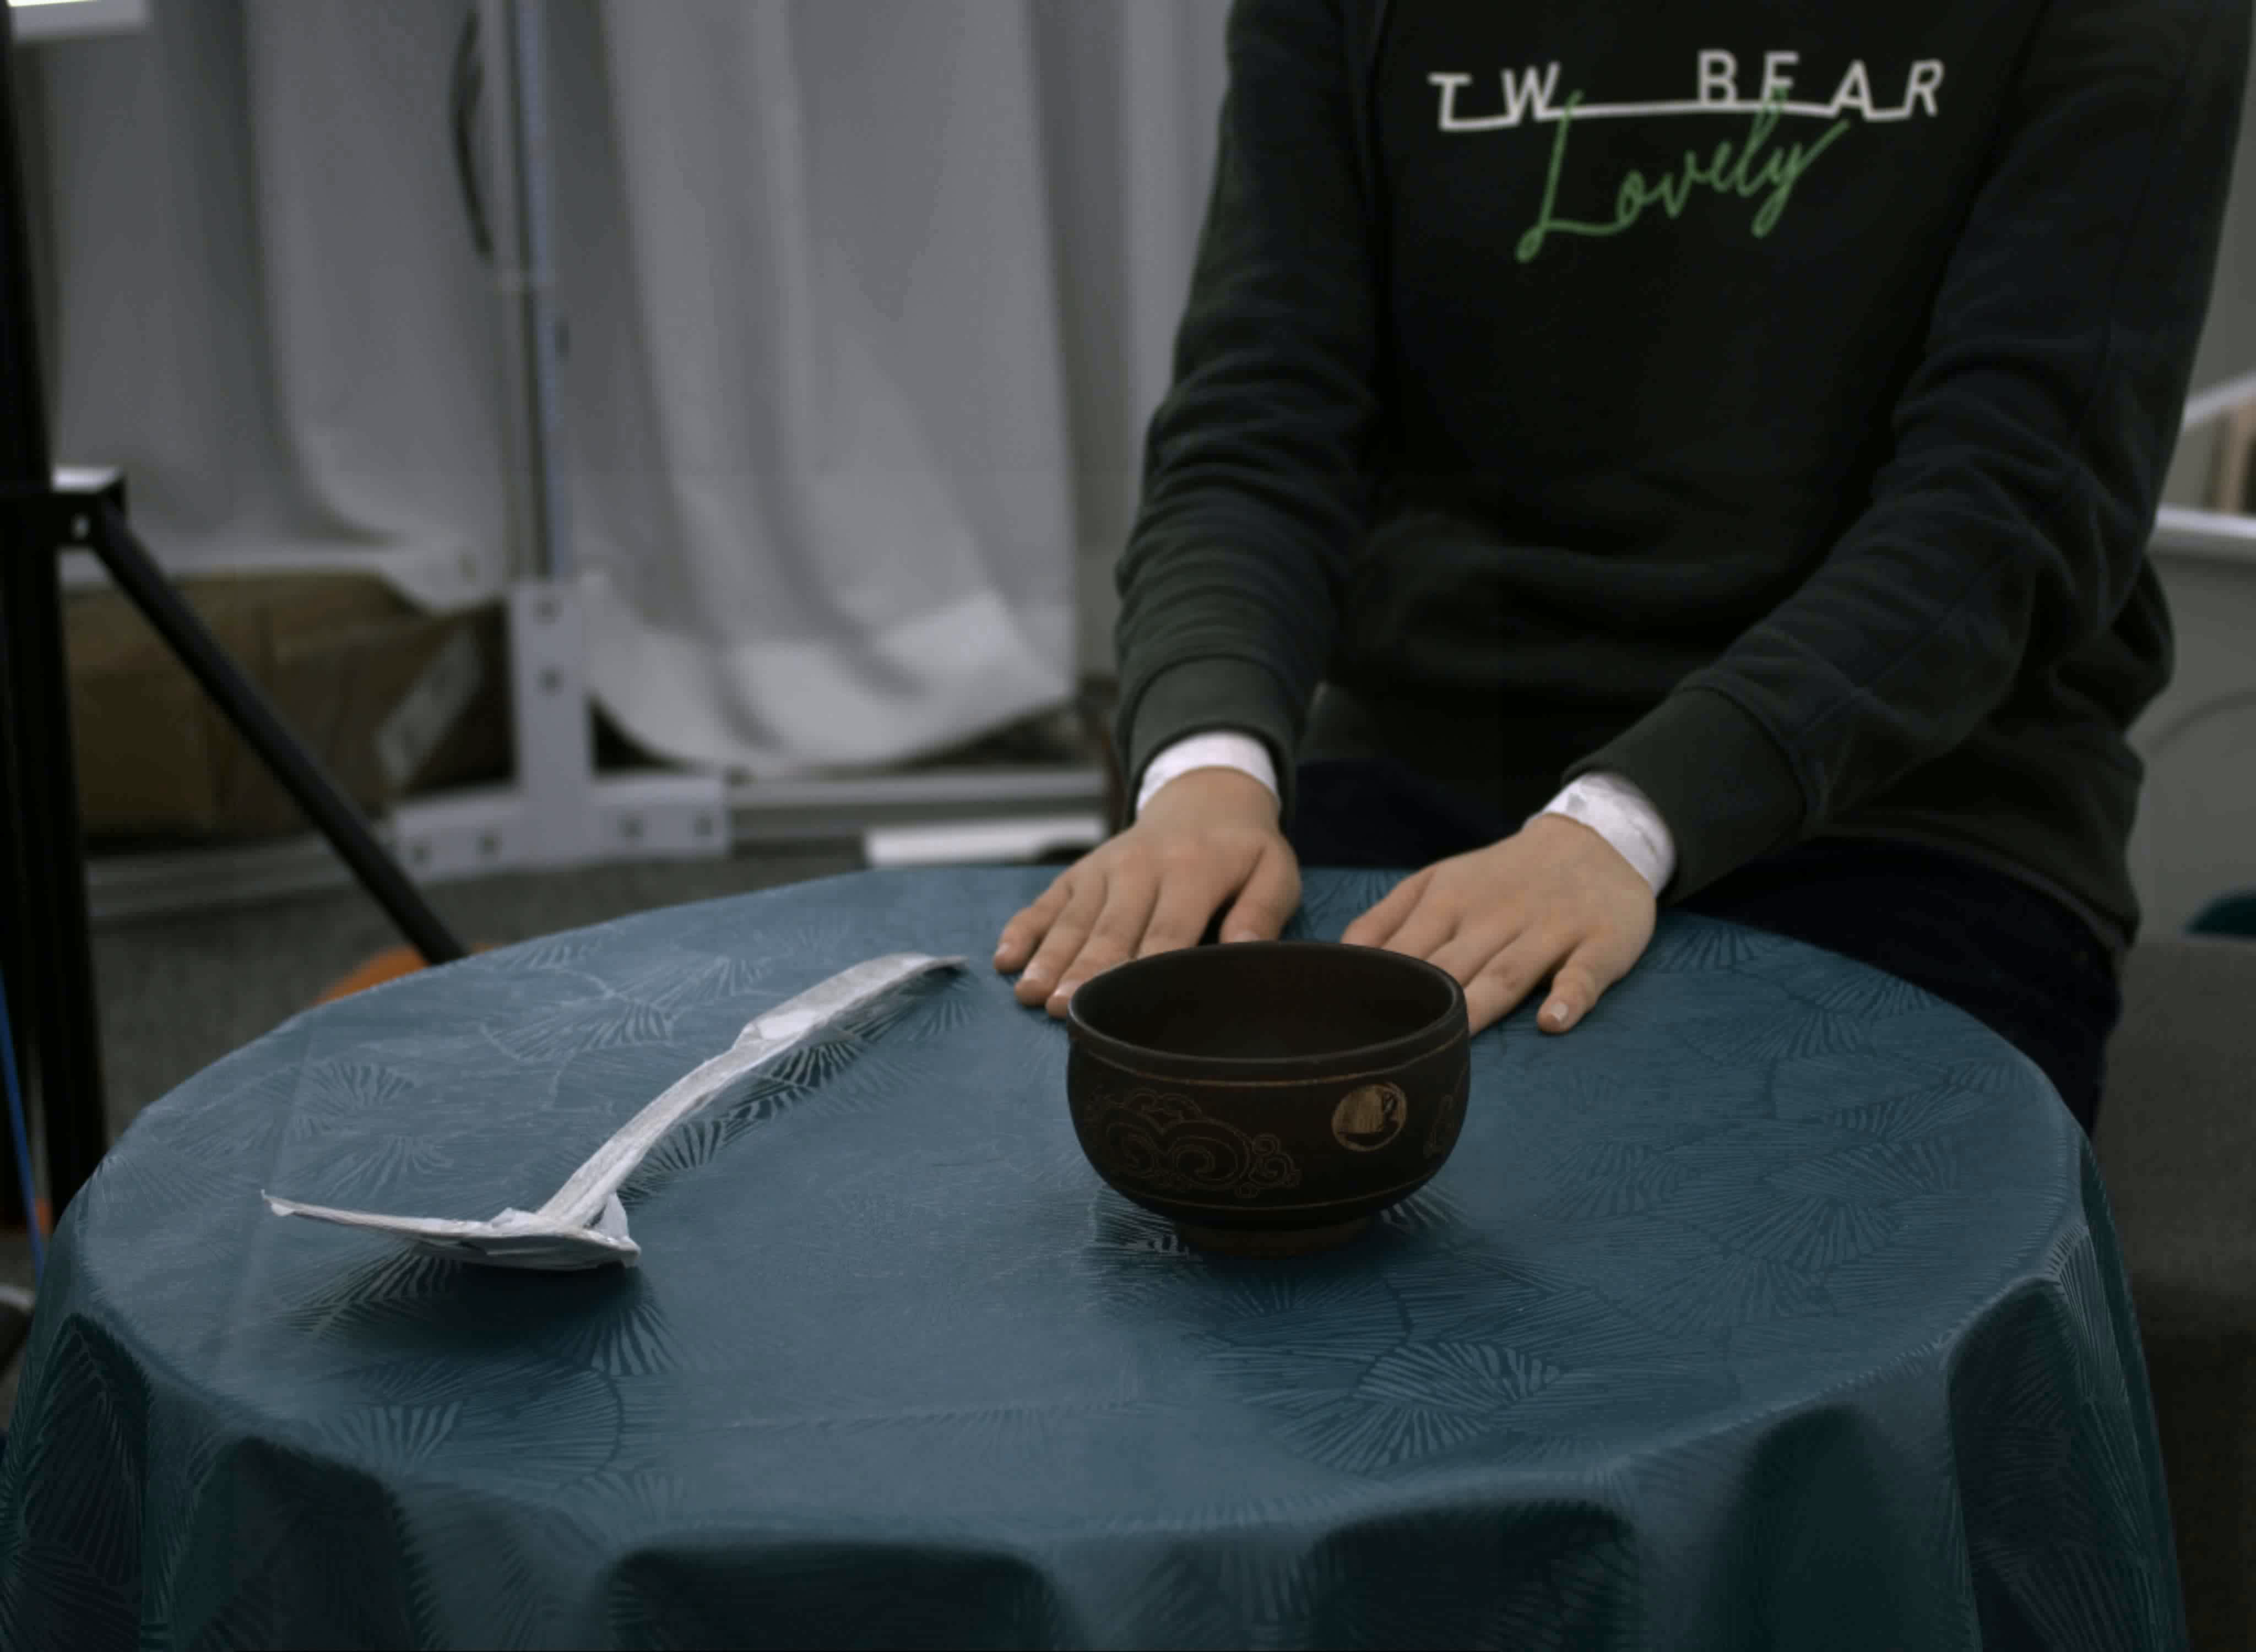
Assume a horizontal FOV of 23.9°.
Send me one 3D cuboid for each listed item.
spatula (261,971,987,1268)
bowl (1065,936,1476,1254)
[{"bbox_3d":[-0.130,0.079,1.612,0.100,0.045,0.359,3,17,24],"label":"spatula"},{"bbox_3d":[0.041,0.081,1.517,0.117,0.070,0.118,-1,16,-1],"label":"bowl"}]
